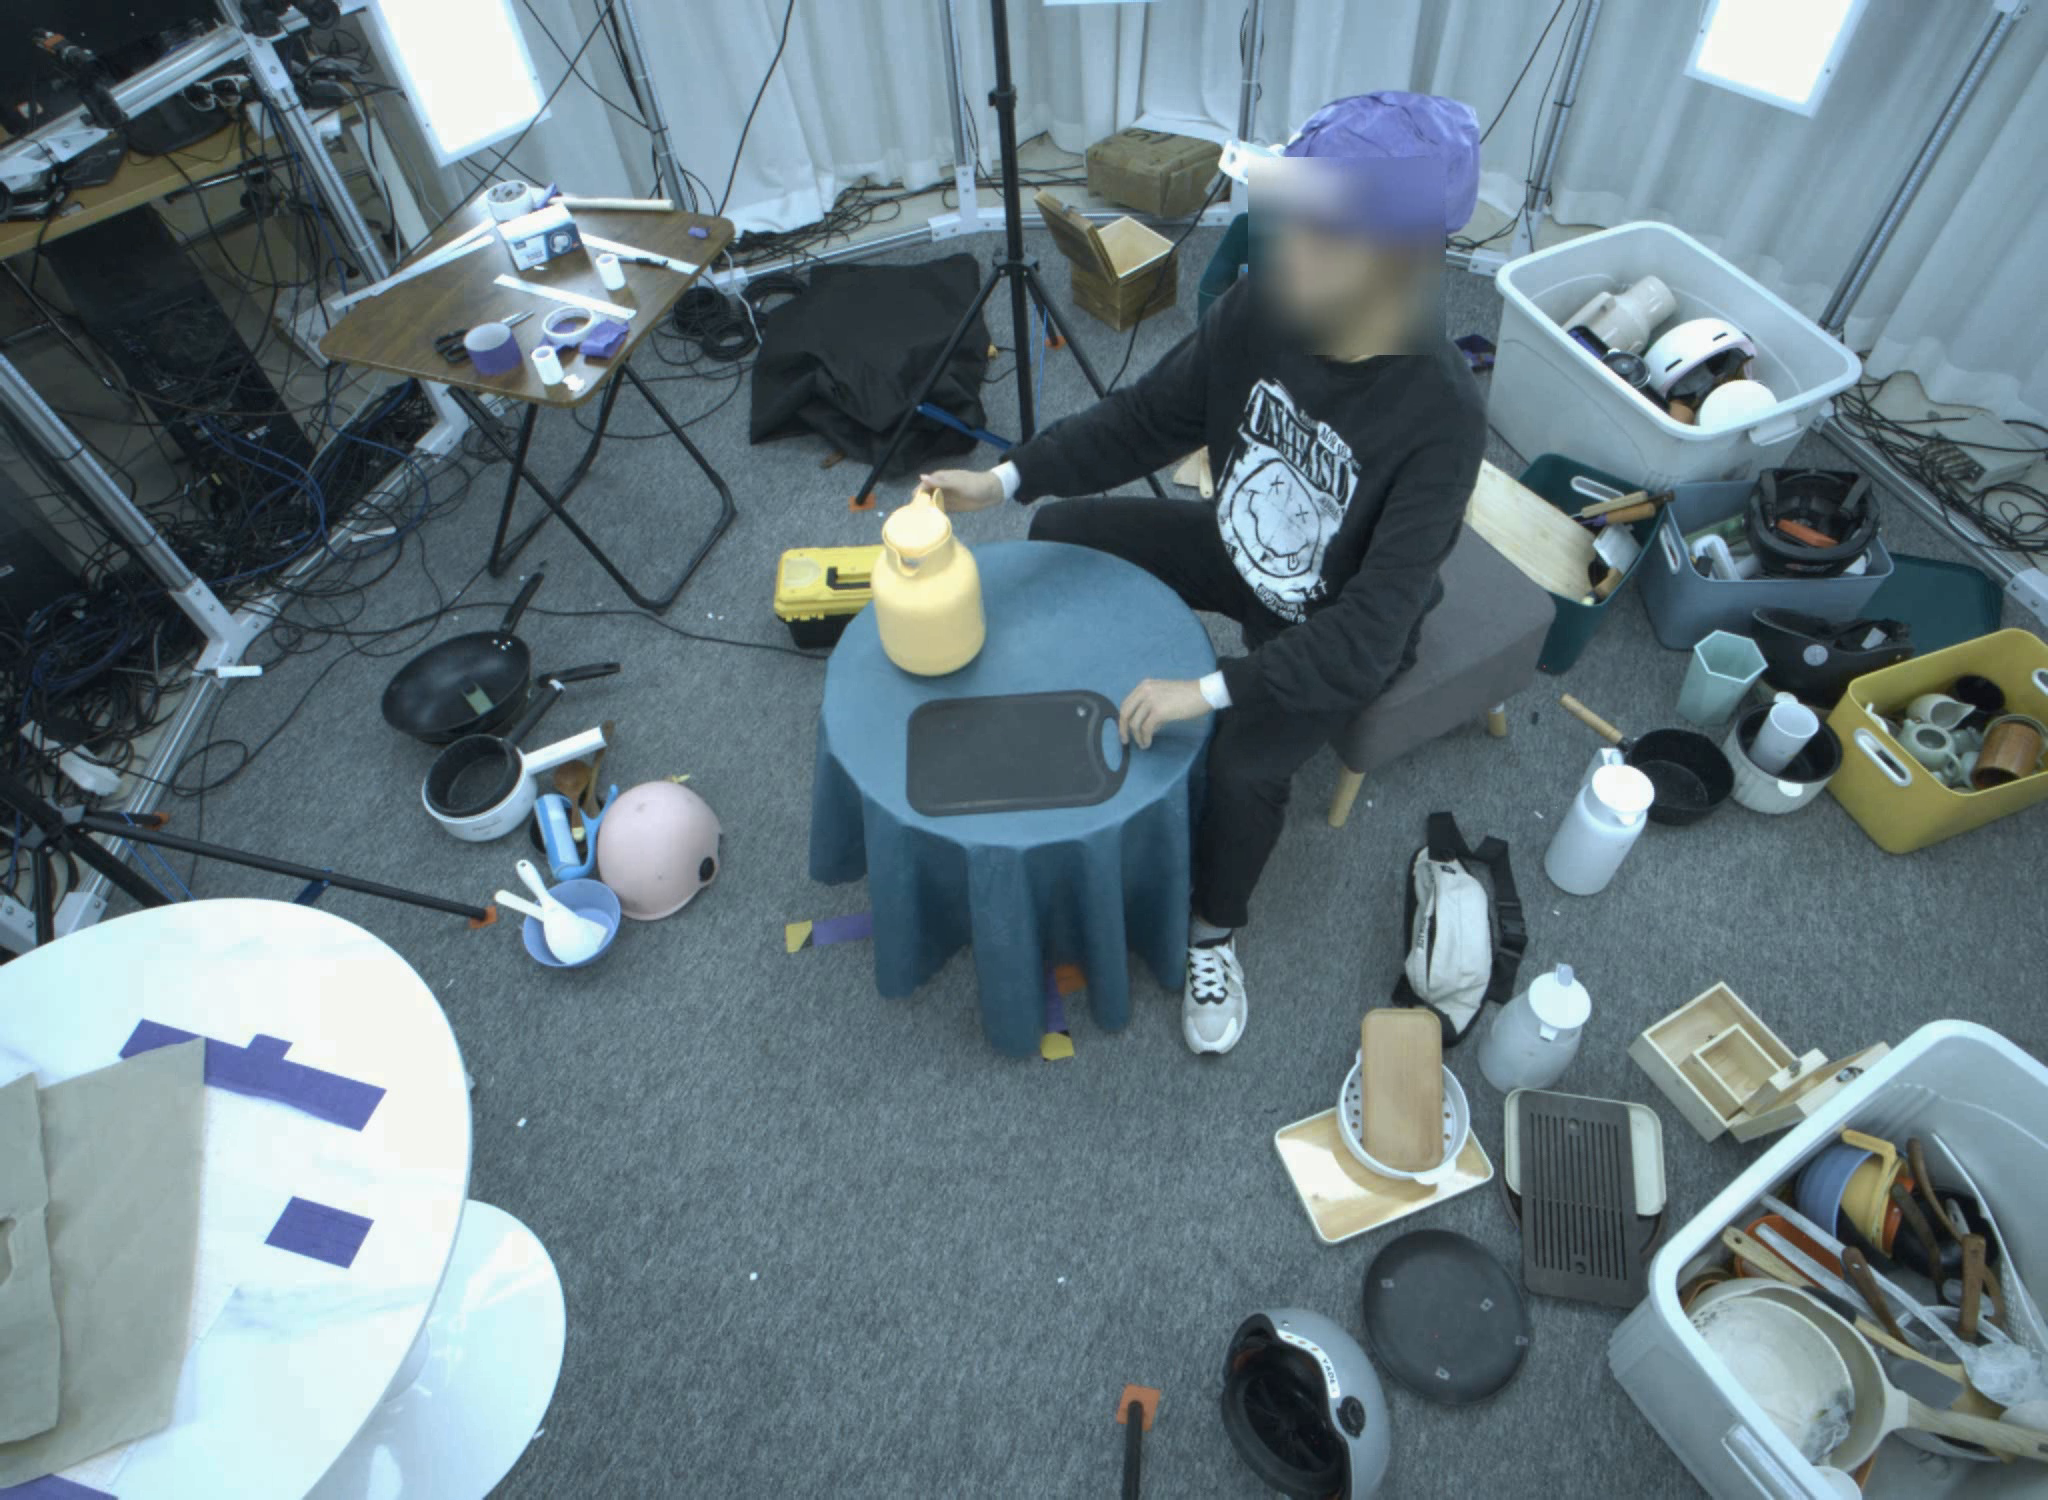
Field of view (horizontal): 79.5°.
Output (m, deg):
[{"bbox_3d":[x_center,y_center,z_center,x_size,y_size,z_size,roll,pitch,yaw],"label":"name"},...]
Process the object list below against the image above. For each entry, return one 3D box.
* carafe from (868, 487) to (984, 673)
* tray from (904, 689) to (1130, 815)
[{"bbox_3d":[-0.143,-0.258,1.810,0.163,0.263,0.201,7,56,6],"label":"carafe"},{"bbox_3d":[-0.010,-0.002,1.781,0.326,0.010,0.208,-3,55,-1],"label":"tray"}]
